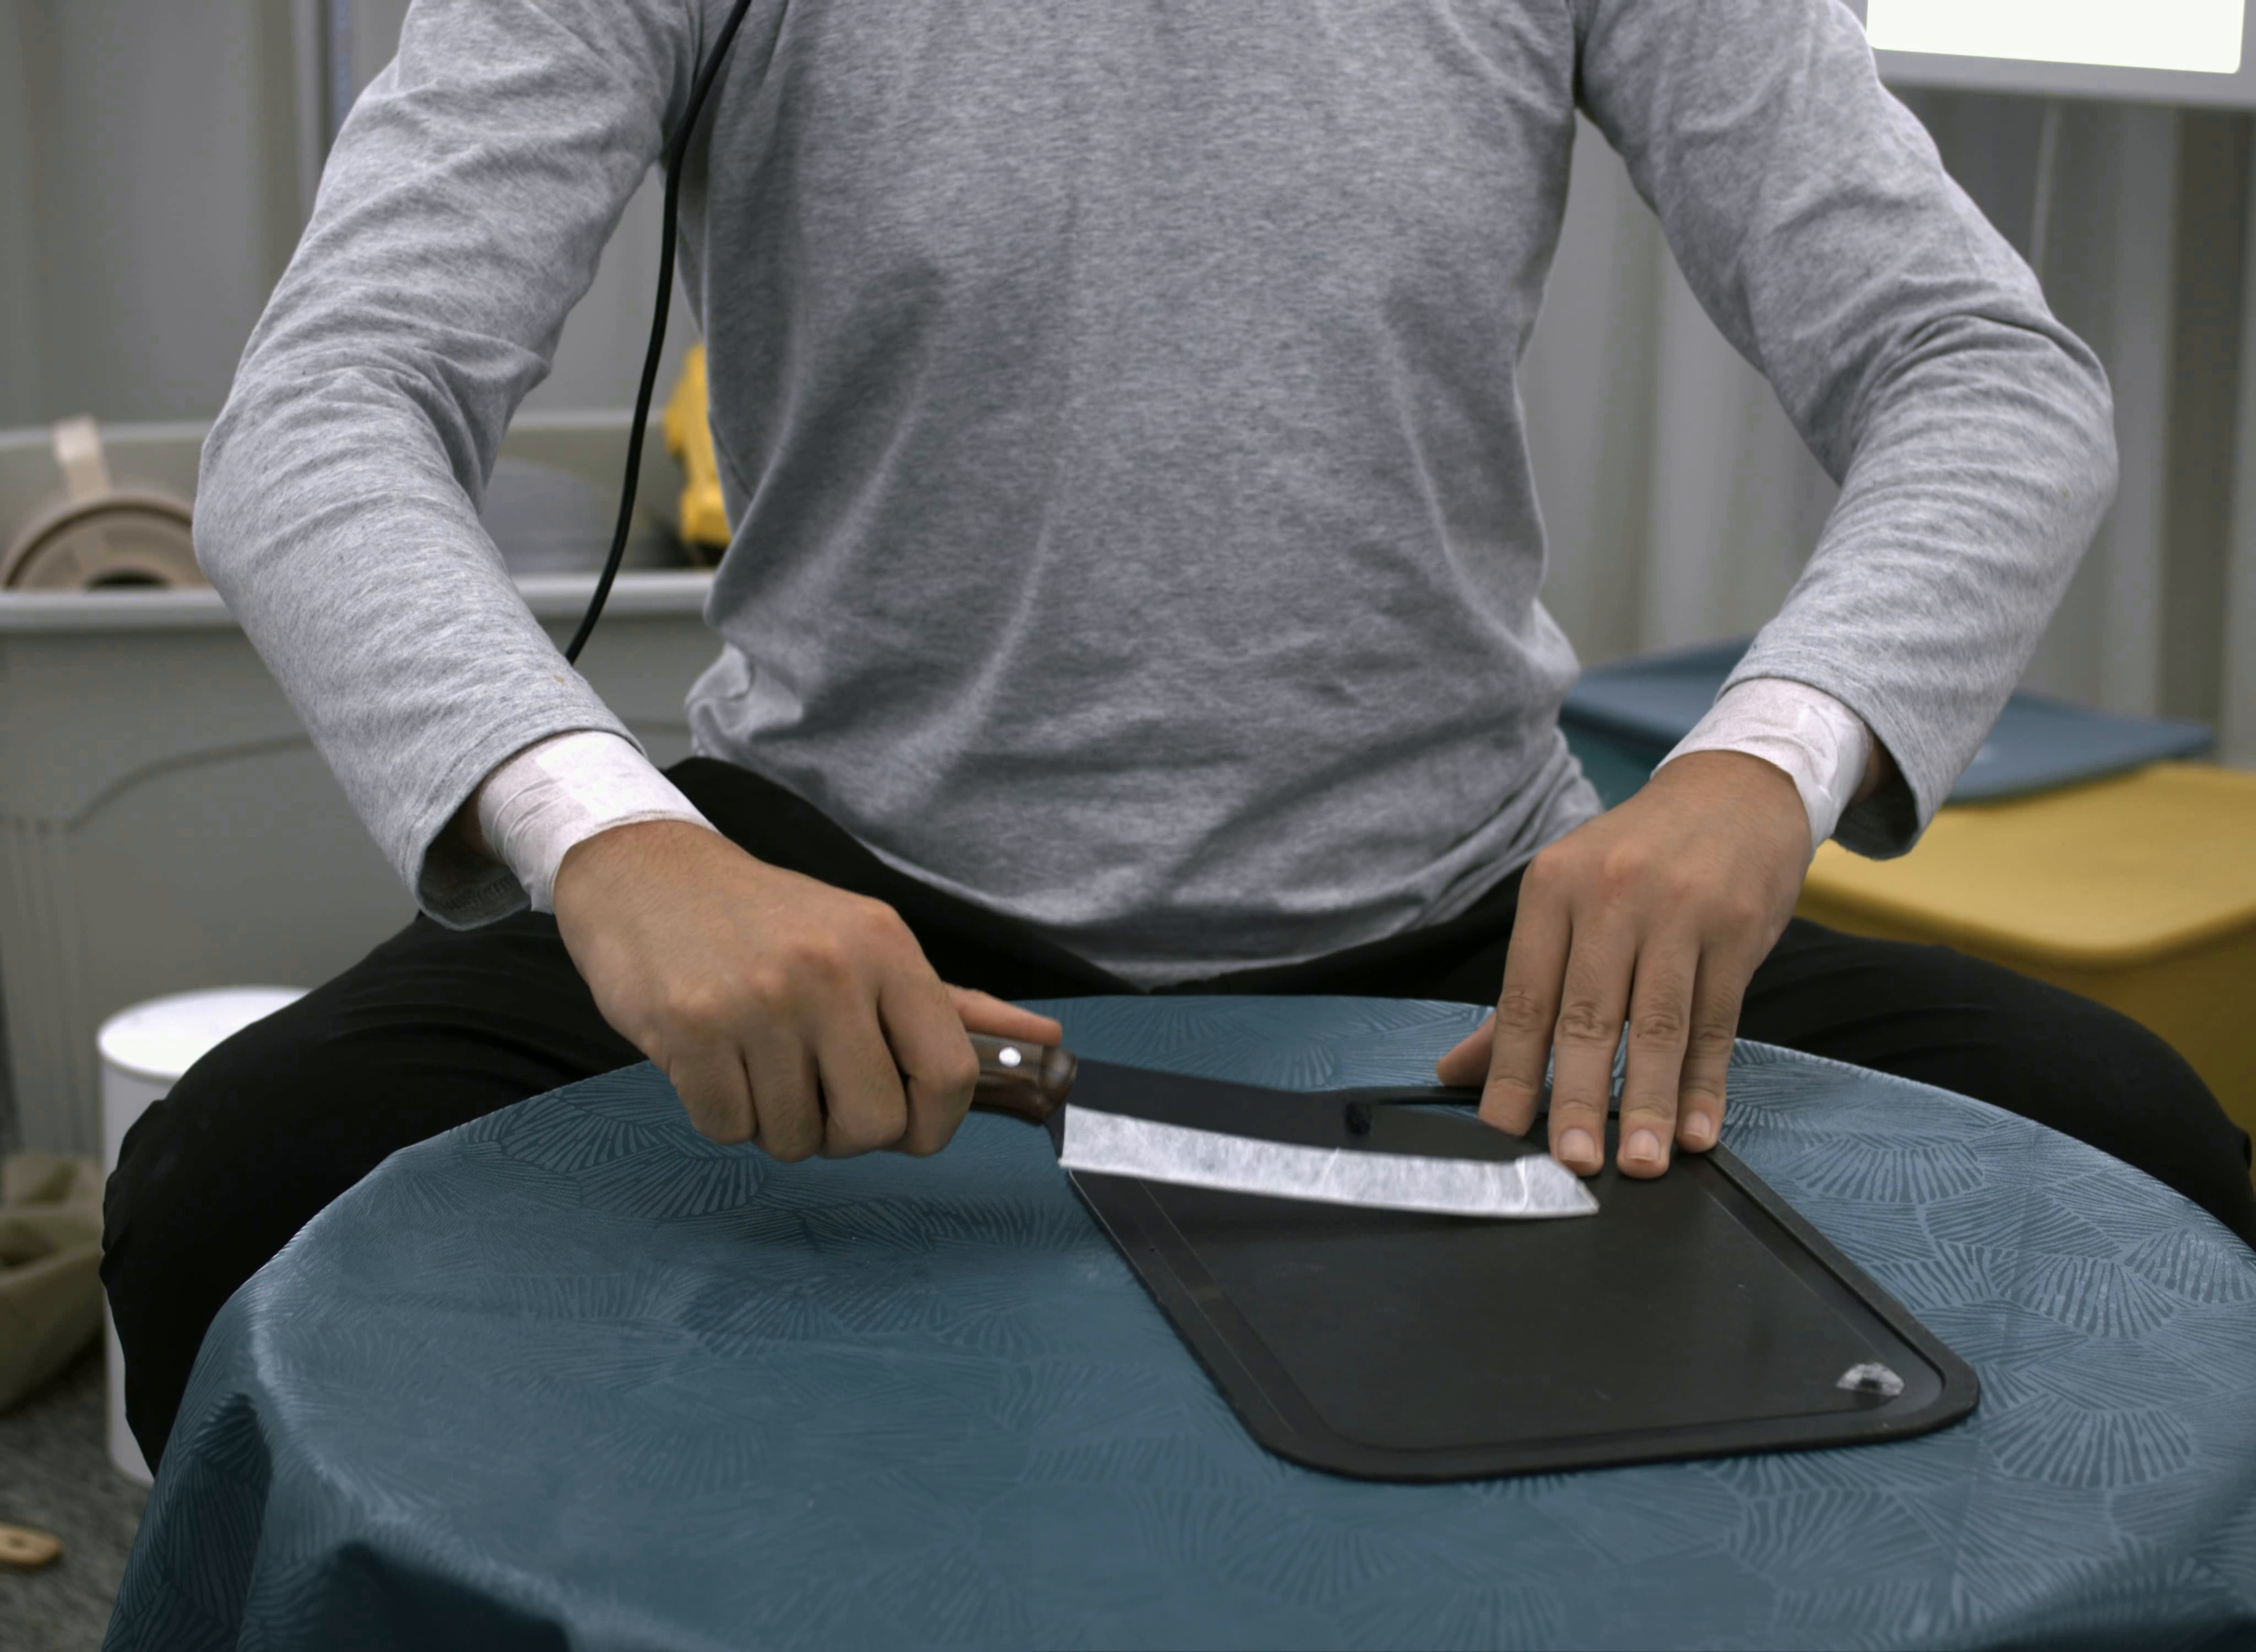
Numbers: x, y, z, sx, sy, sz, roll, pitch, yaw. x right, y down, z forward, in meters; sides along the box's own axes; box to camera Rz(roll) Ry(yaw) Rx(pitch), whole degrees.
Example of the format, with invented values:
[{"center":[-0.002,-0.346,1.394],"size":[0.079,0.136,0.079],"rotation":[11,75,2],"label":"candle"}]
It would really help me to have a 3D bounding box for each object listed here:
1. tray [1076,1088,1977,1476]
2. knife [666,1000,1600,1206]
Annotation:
[{"center":[0.107,0.127,1.564],"size":[0.211,0.010,0.322],"rotation":[-3,15,-13],"label":"tray"},{"center":[0.003,0.085,1.590],"size":[0.289,0.020,0.050],"rotation":[10,47,-6],"label":"knife"}]
